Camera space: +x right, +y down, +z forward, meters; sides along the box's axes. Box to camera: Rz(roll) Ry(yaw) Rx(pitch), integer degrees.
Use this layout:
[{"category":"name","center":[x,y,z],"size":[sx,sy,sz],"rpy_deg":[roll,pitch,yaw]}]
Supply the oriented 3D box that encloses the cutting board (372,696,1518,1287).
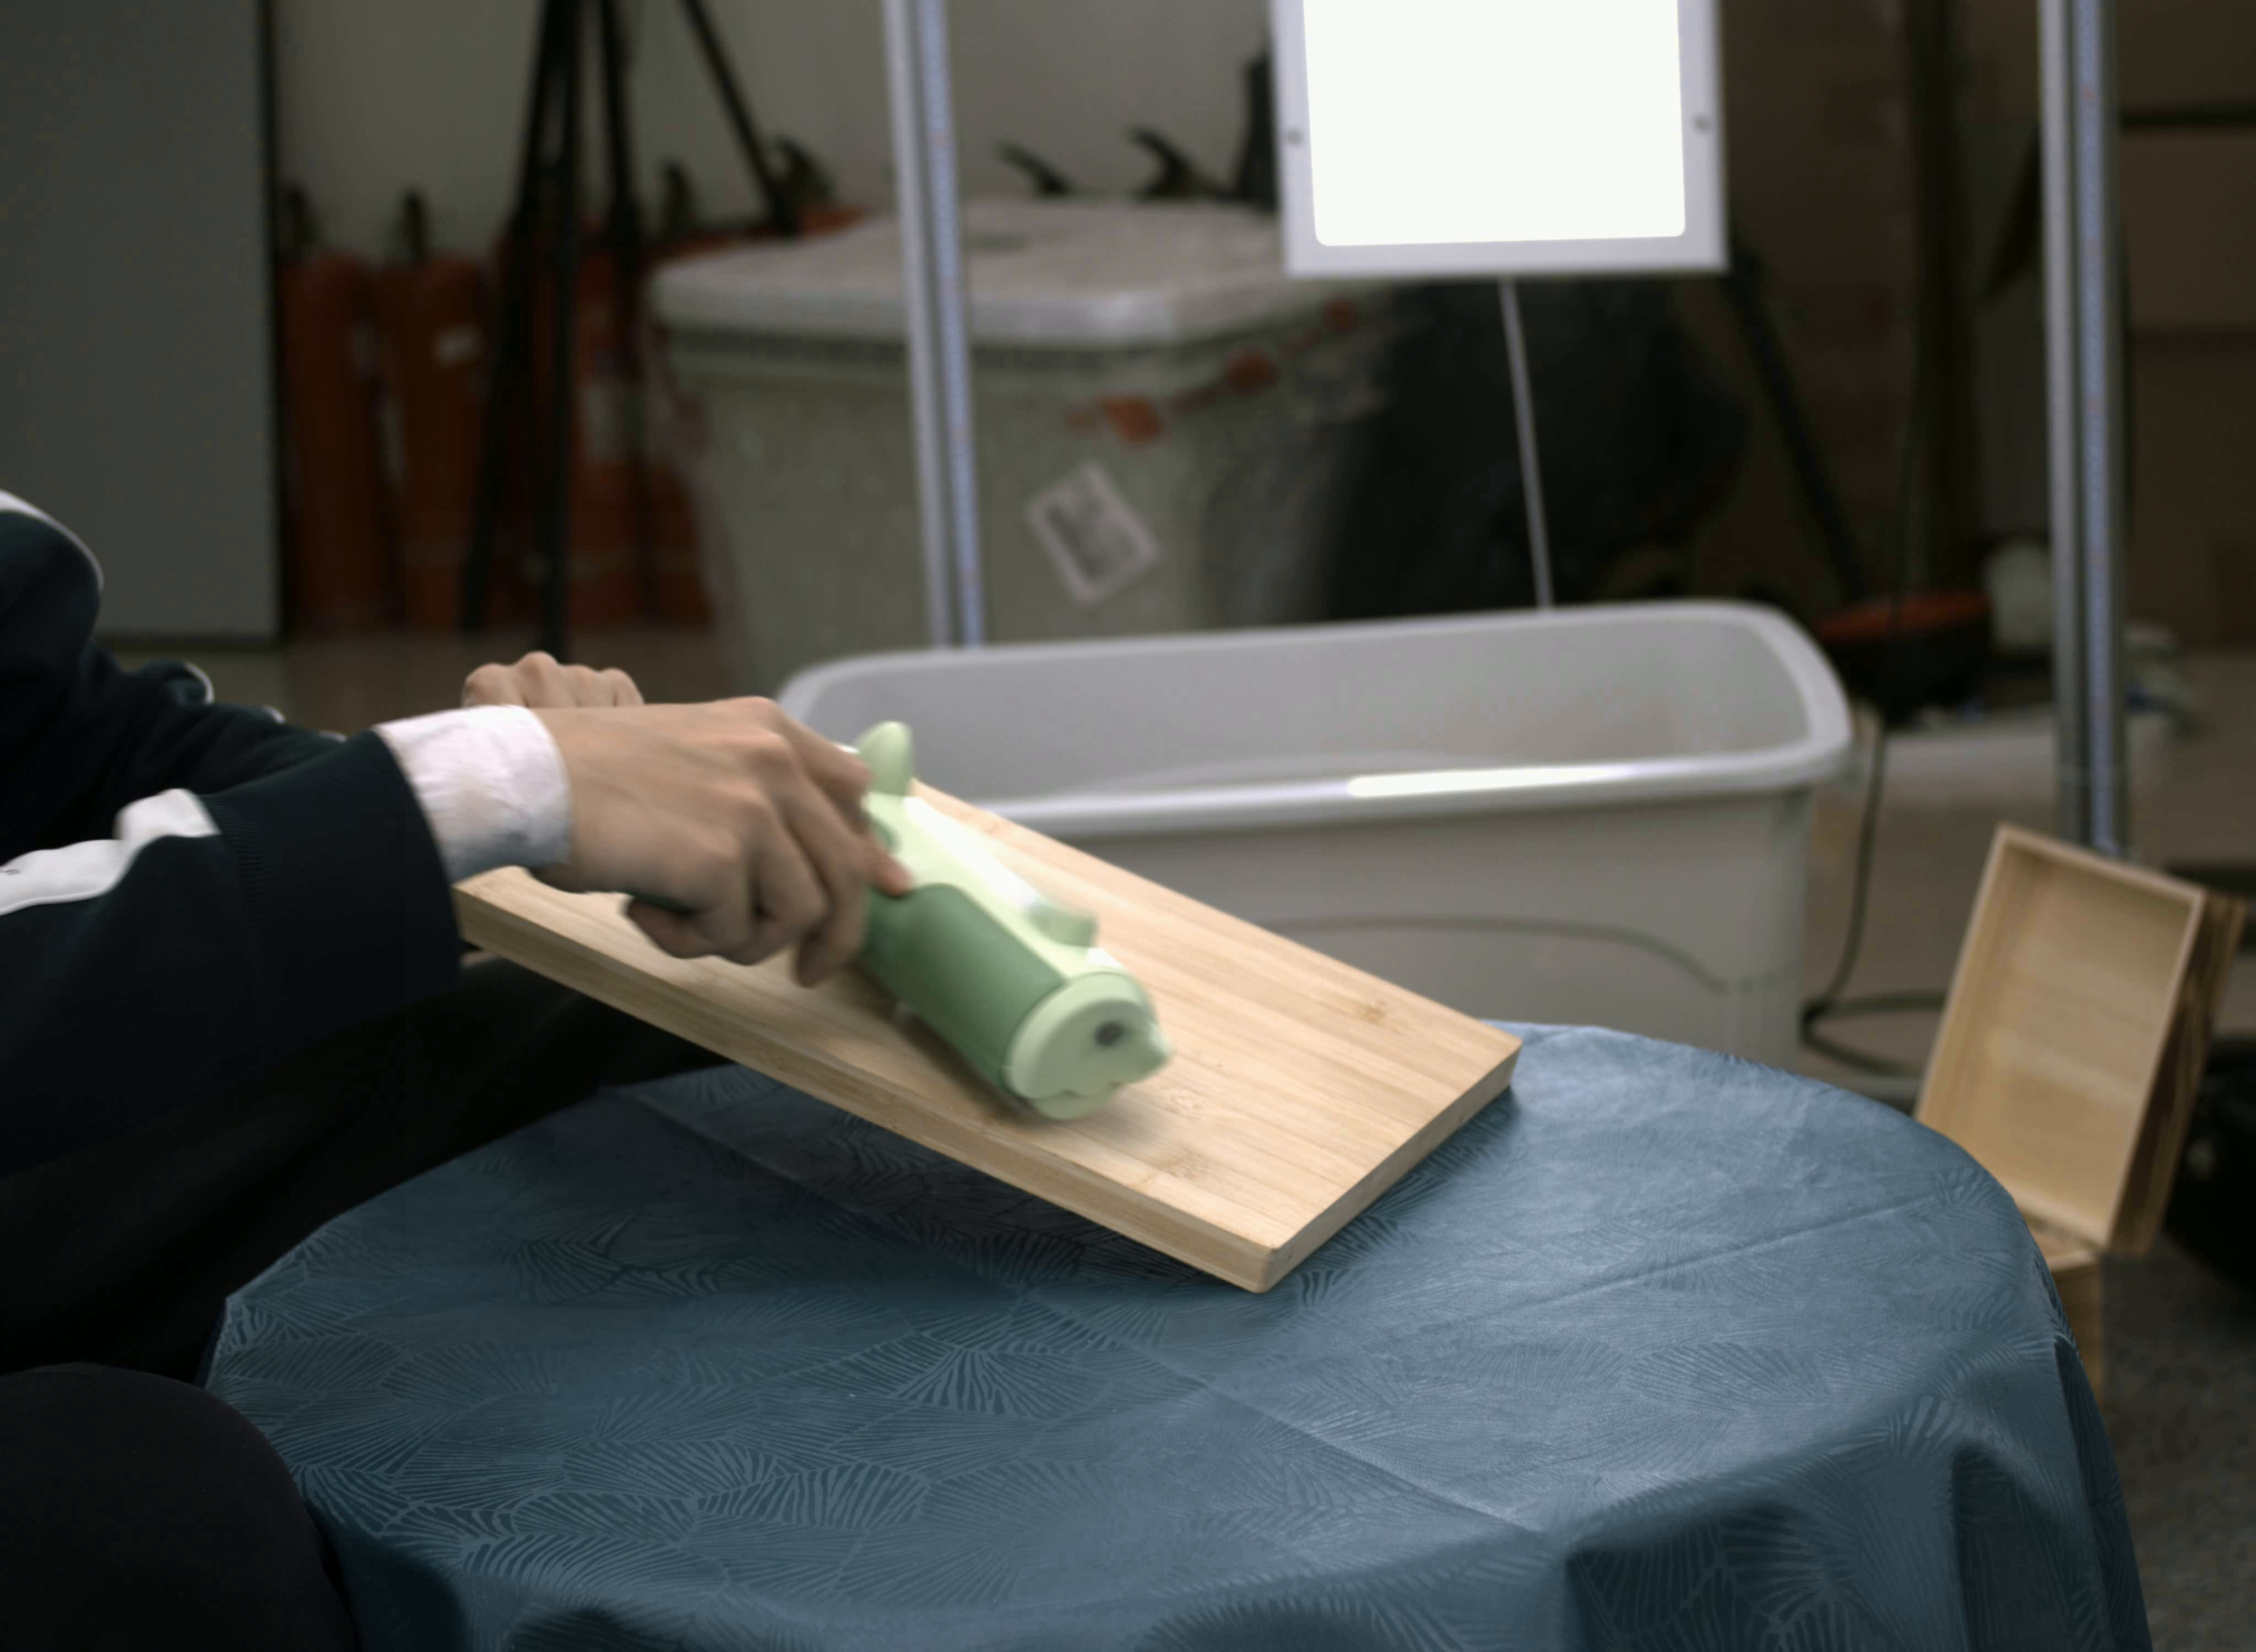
[{"category":"cutting board","center":[-0.060,0.052,1.935],"size":[0.352,0.024,0.246],"rpy_deg":[22,23,18]}]

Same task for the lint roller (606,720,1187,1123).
[{"category":"lint roller","center":[-0.090,0.010,1.835],"size":[0.179,0.082,0.201],"rpy_deg":[26,10,-42]}]
